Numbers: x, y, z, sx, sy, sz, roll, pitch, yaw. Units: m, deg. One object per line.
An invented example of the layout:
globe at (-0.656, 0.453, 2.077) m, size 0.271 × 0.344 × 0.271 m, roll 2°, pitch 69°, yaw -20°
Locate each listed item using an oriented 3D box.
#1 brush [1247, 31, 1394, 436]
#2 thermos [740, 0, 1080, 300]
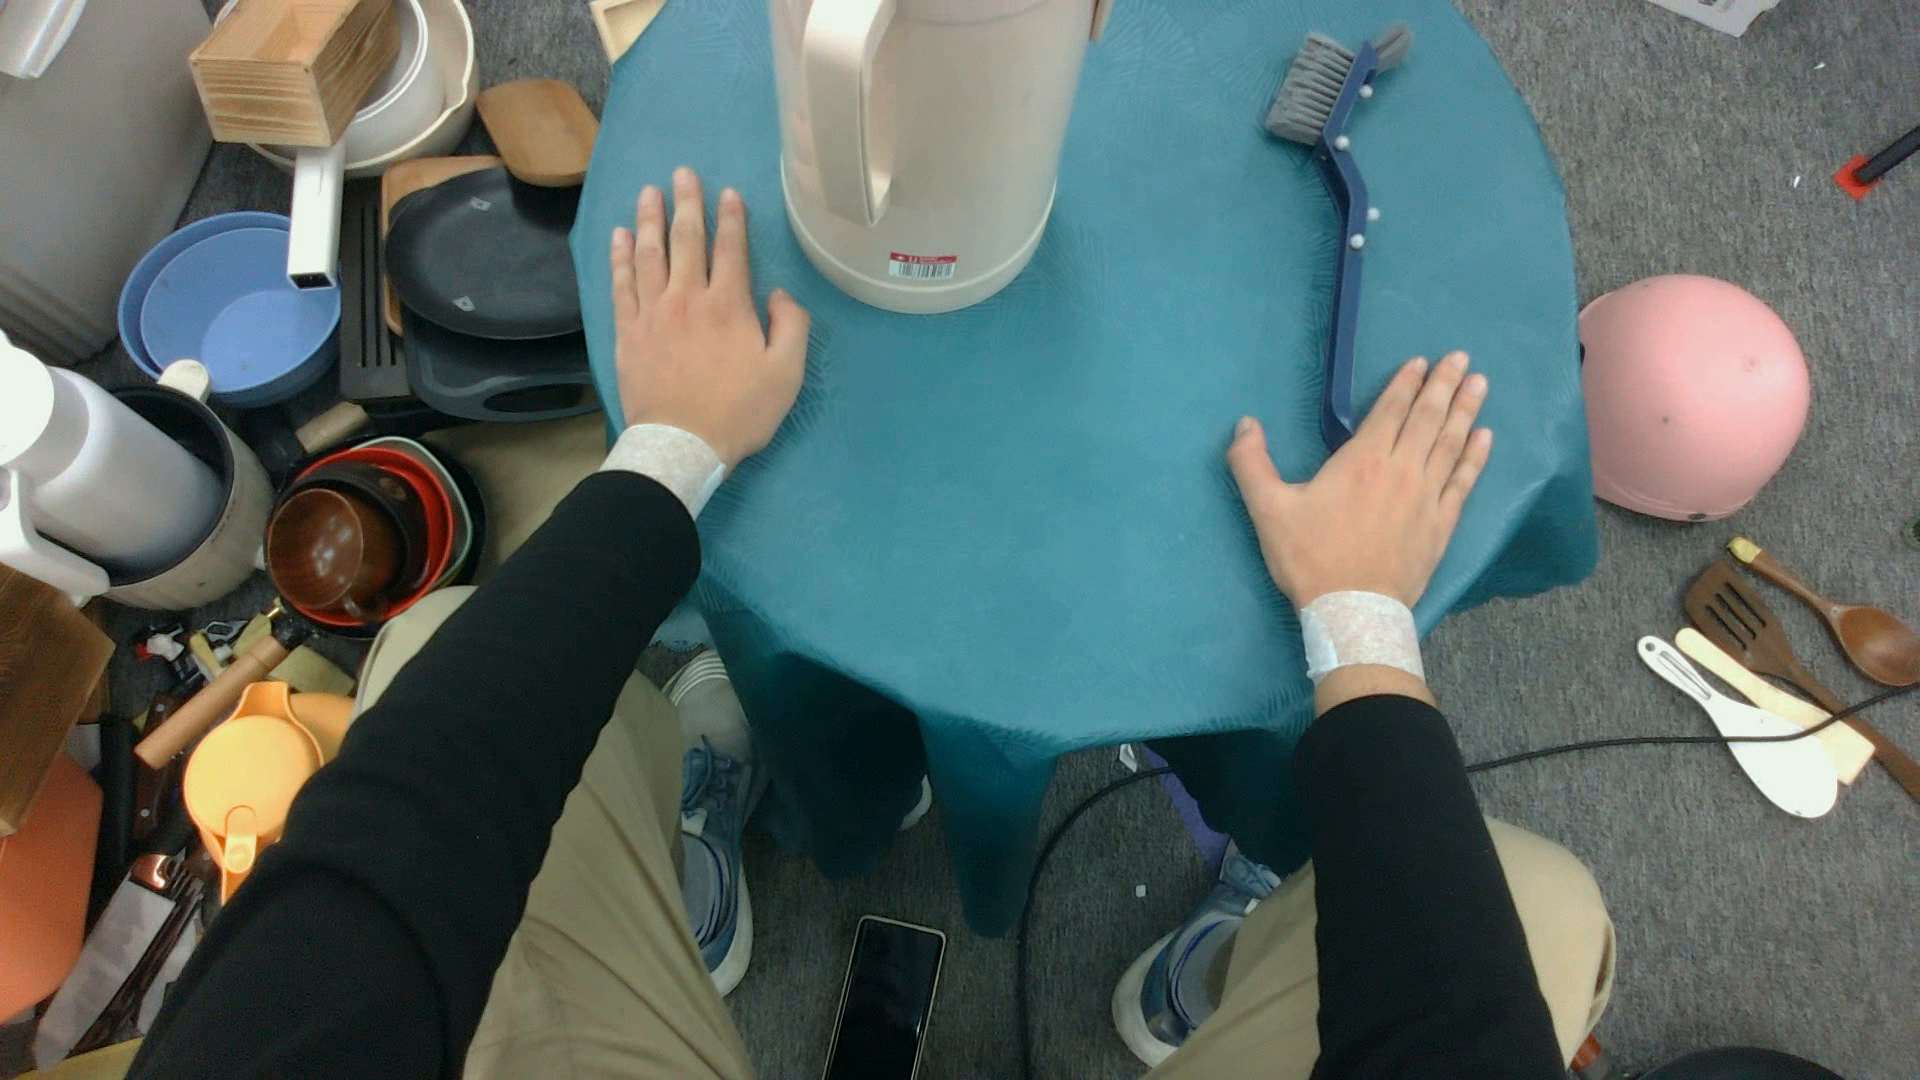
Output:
brush at (0.225, -0.192, 0.825) m, size 0.096 × 0.033 × 0.274 m, roll 1°, pitch 71°, yaw -4°
thermos at (-0.031, -0.256, 0.631) m, size 0.175 × 0.405 × 0.207 m, roll 21°, pitch 73°, yaw 0°
